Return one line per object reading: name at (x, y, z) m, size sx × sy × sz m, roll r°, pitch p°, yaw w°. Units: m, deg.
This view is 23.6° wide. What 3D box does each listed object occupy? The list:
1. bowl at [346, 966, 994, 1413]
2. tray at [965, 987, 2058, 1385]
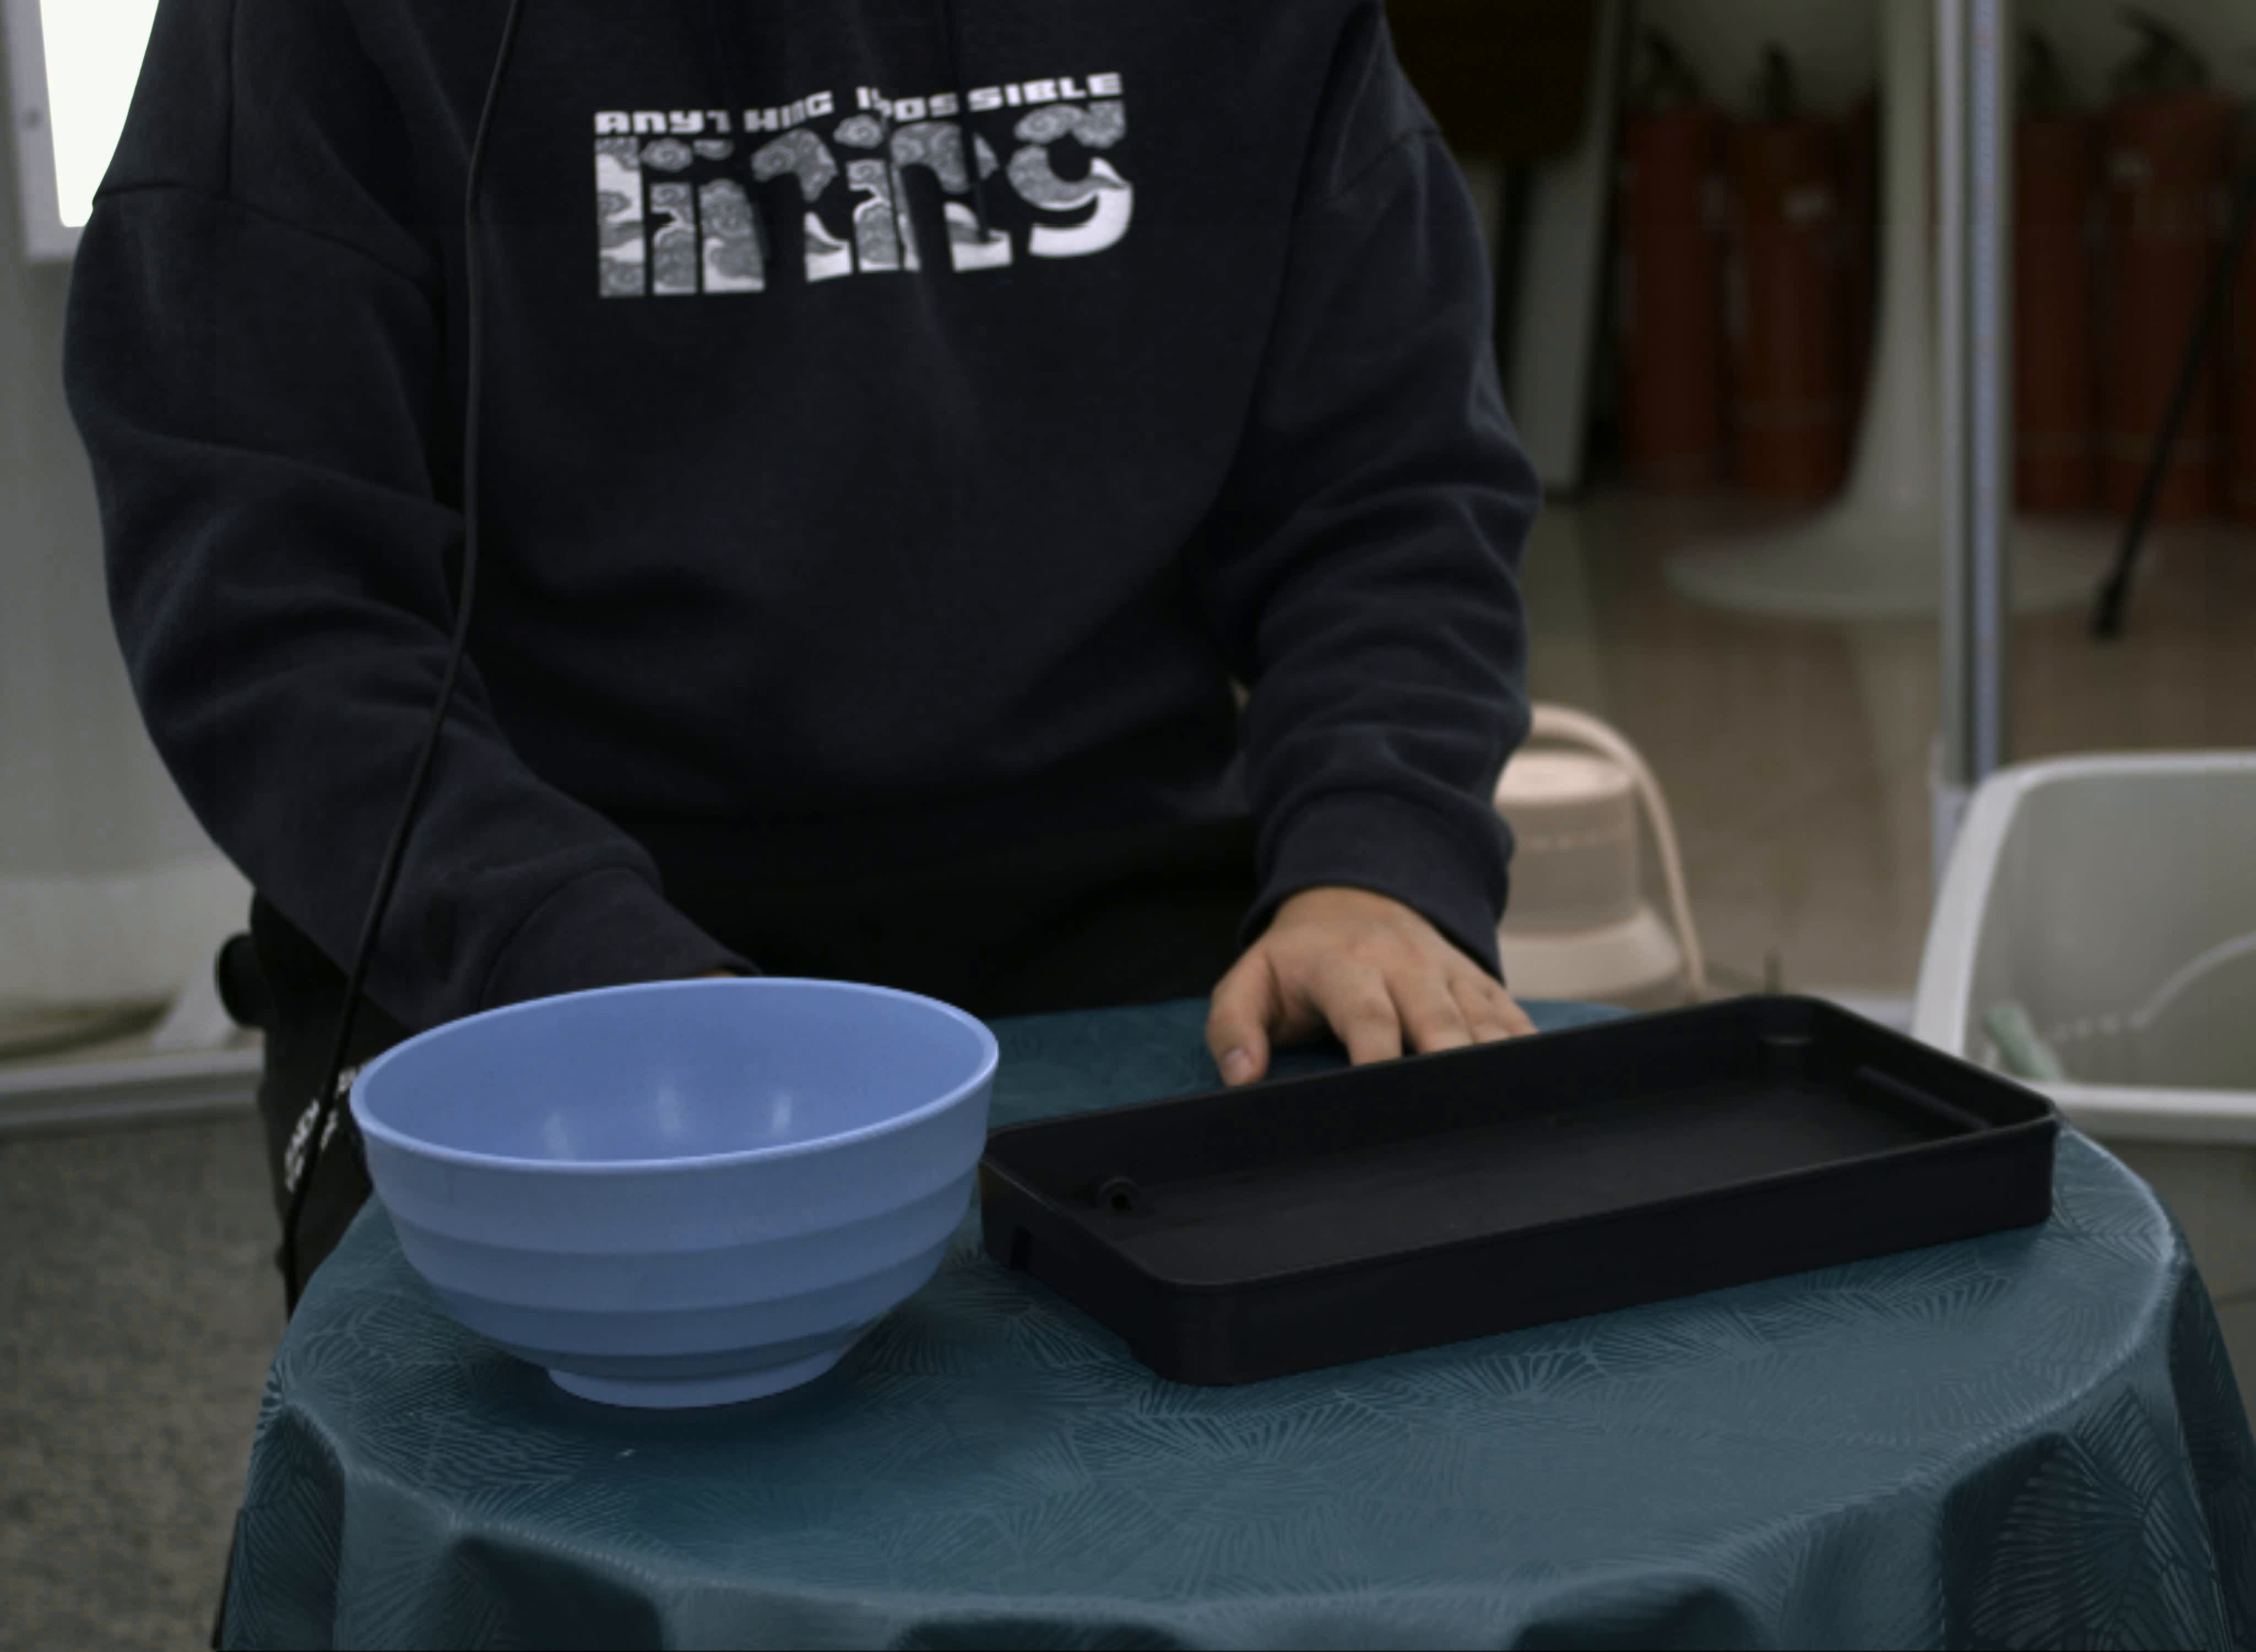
bowl at (-0.133, 0.115, 1.628) m, size 0.194 × 0.096 × 0.197 m, roll -5°, pitch 15°, yaw 1°
tray at (0.121, 0.110, 1.707) m, size 0.311 × 0.037 × 0.186 m, roll -9°, pitch 14°, yaw -21°
